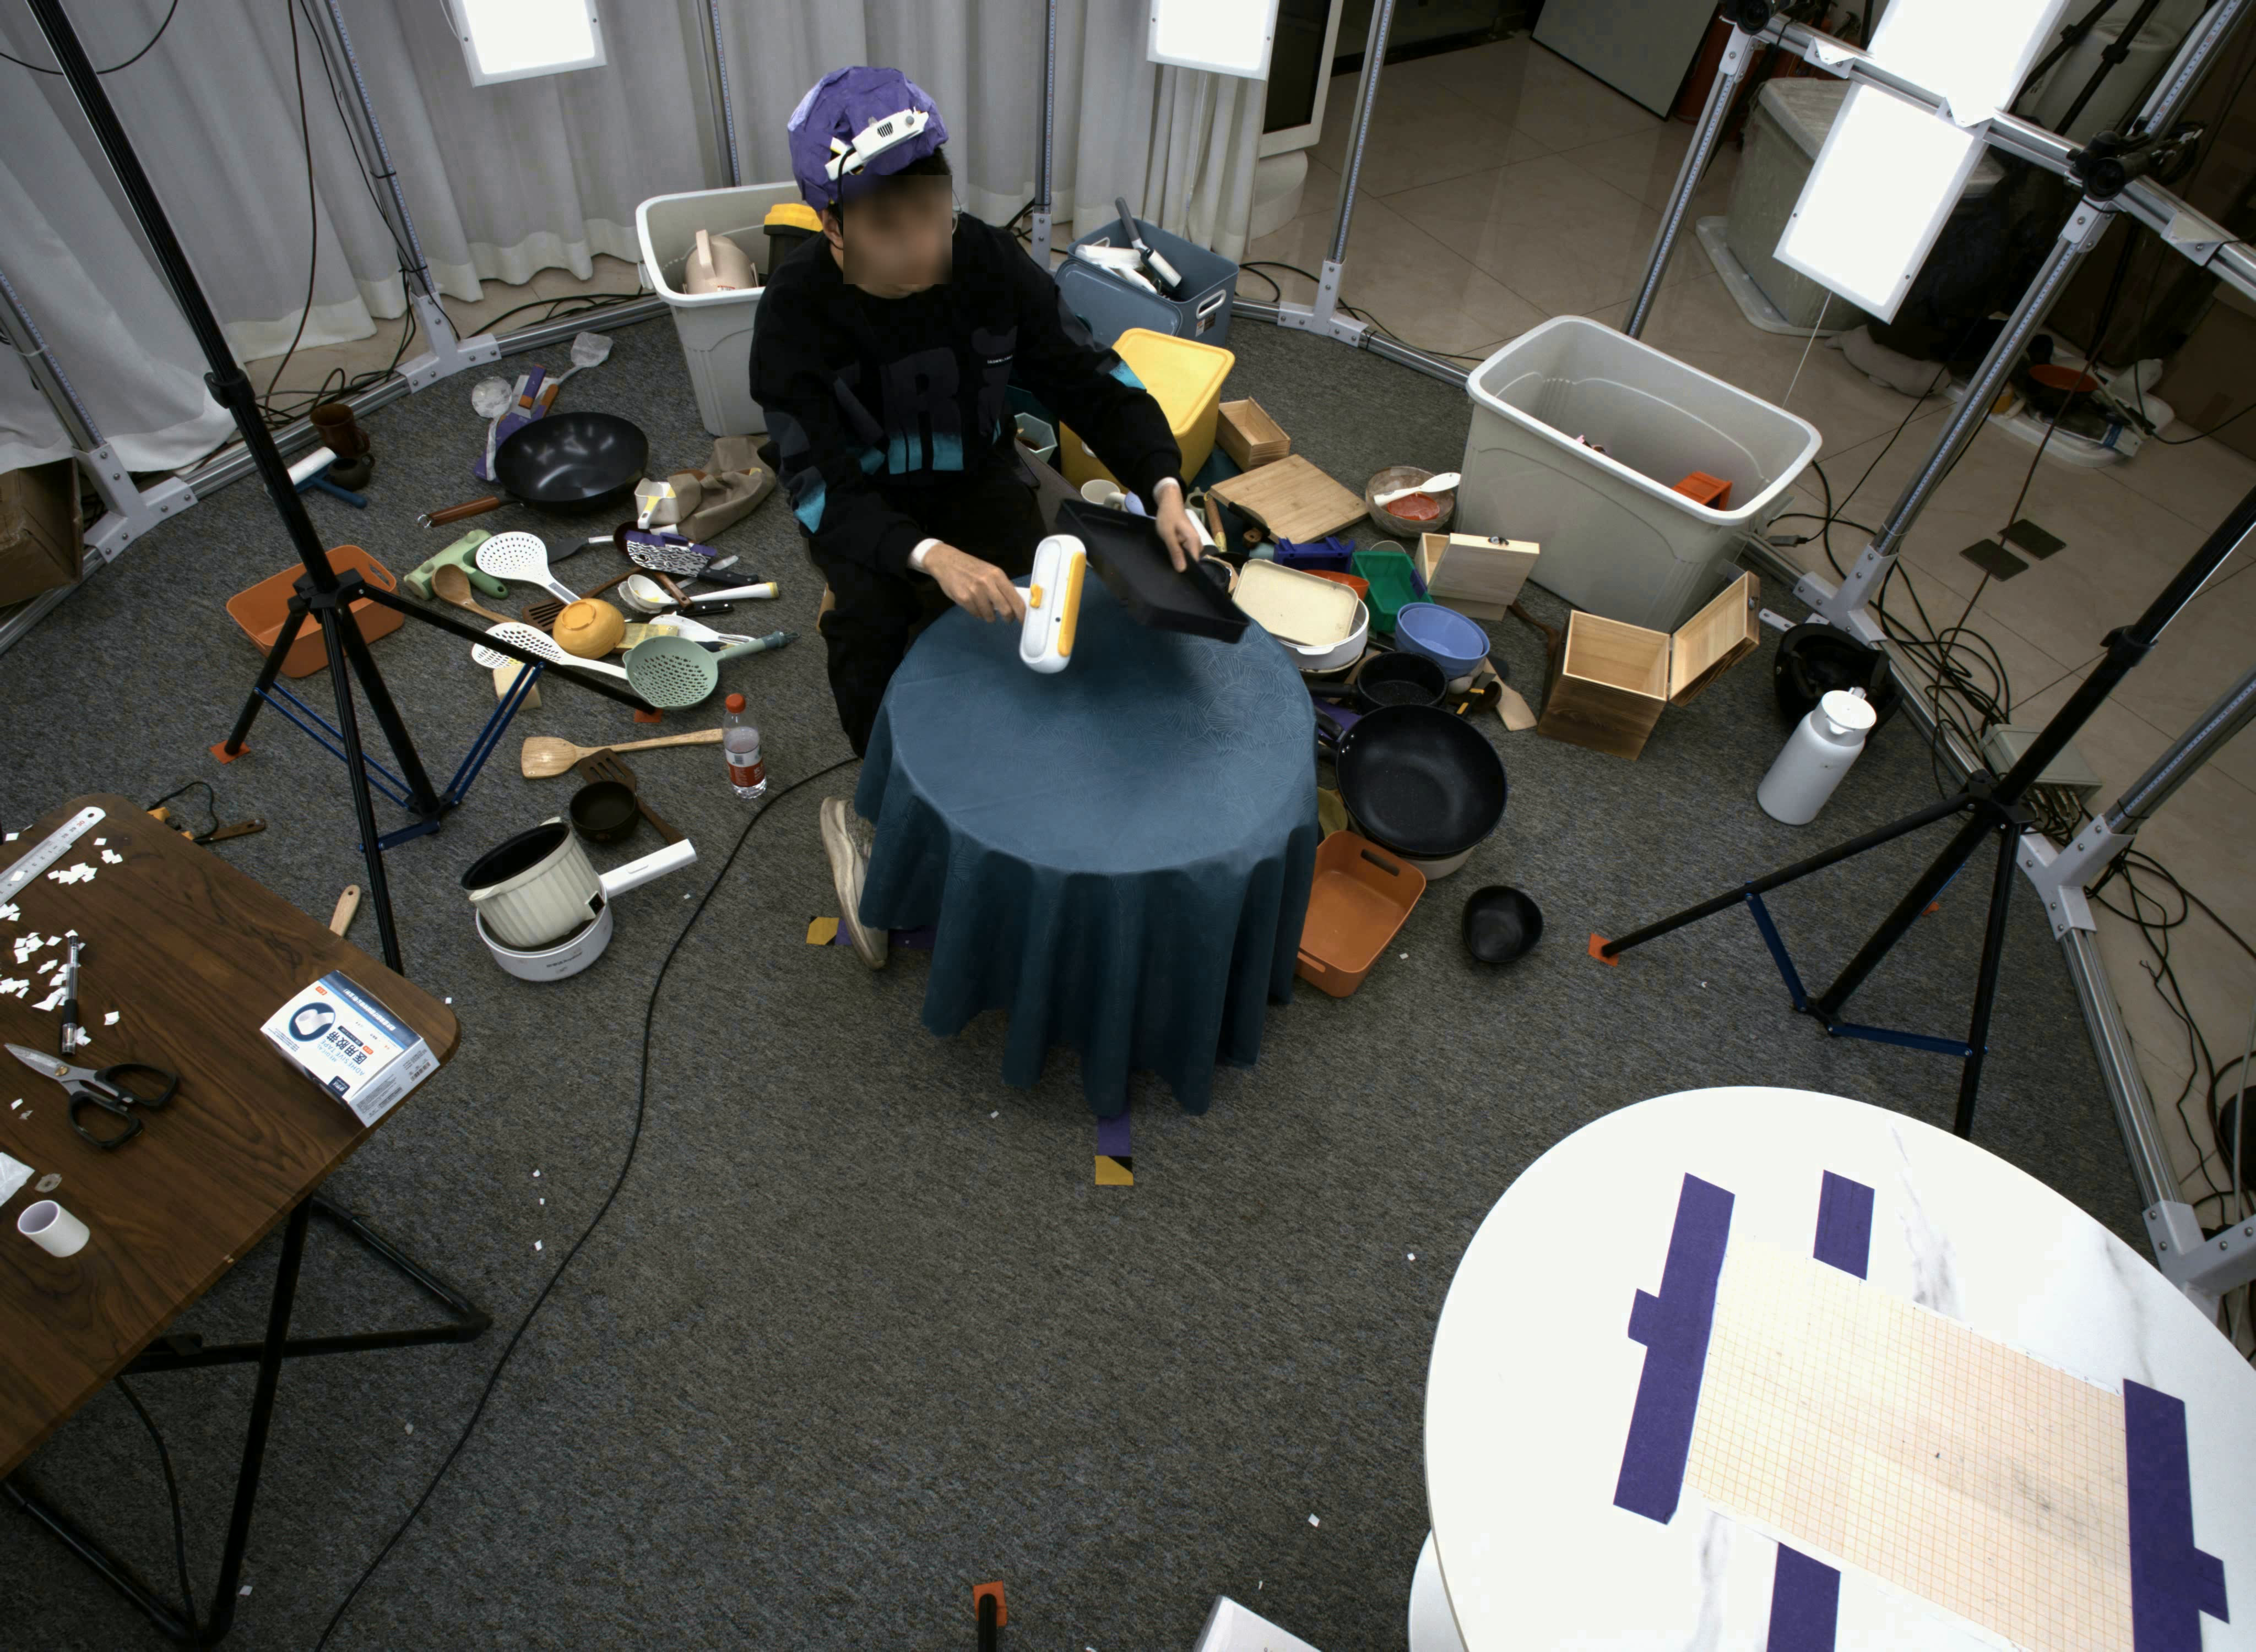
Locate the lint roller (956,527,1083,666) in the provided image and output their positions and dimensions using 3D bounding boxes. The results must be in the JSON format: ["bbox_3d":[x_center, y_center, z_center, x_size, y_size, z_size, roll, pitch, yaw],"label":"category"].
[{"bbox_3d":[-0.153,-0.321,1.810,0.193,0.193,0.074,2,0,35],"label":"lint roller"}]

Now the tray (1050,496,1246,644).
[{"bbox_3d":[0.023,-0.365,1.823,0.183,0.036,0.325,4,36,-33],"label":"tray"}]
